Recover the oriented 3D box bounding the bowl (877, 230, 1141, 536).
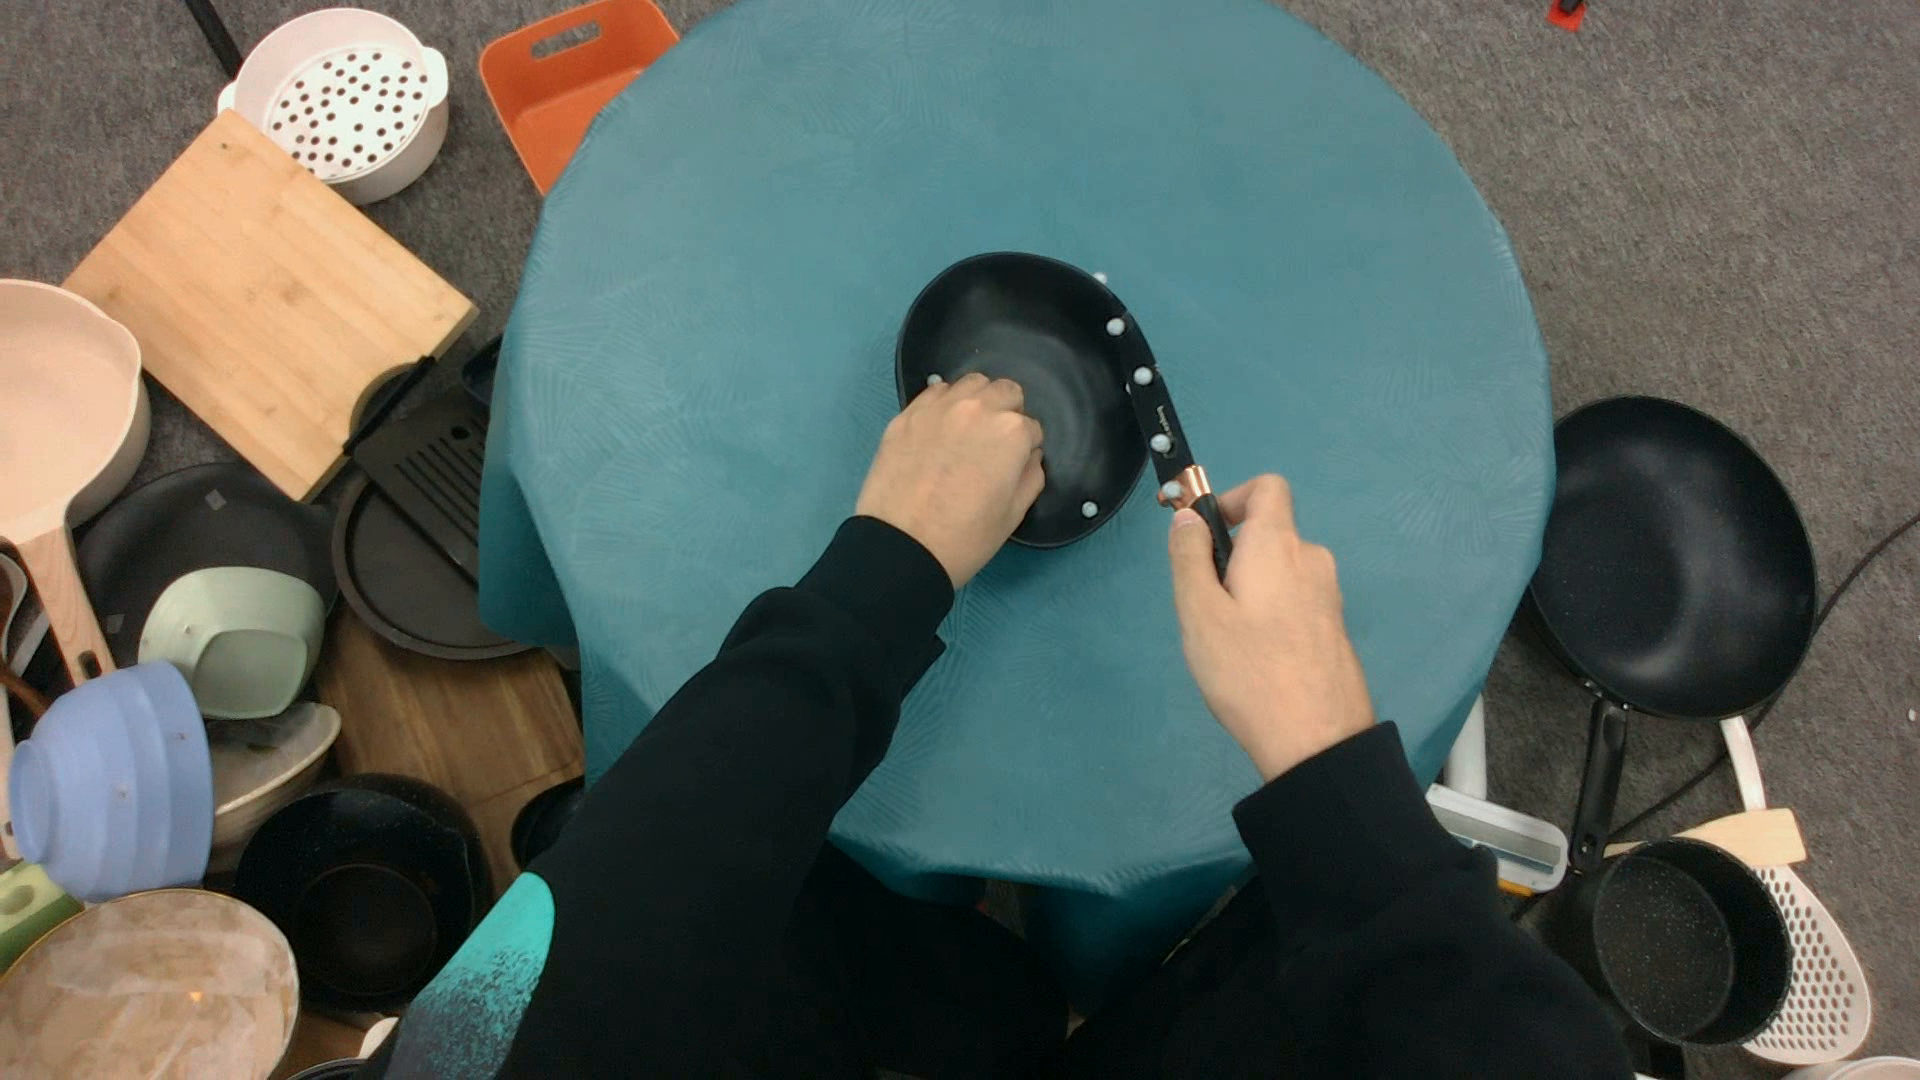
[{"bbox_3d":[0.024,-0.080,0.741,0.137,0.066,0.170,-11,74,-9],"label":"bowl"}]

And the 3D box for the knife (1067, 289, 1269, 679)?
[{"bbox_3d":[0.091,-0.035,0.626,0.017,0.026,0.226,16,46,-45],"label":"knife"}]
